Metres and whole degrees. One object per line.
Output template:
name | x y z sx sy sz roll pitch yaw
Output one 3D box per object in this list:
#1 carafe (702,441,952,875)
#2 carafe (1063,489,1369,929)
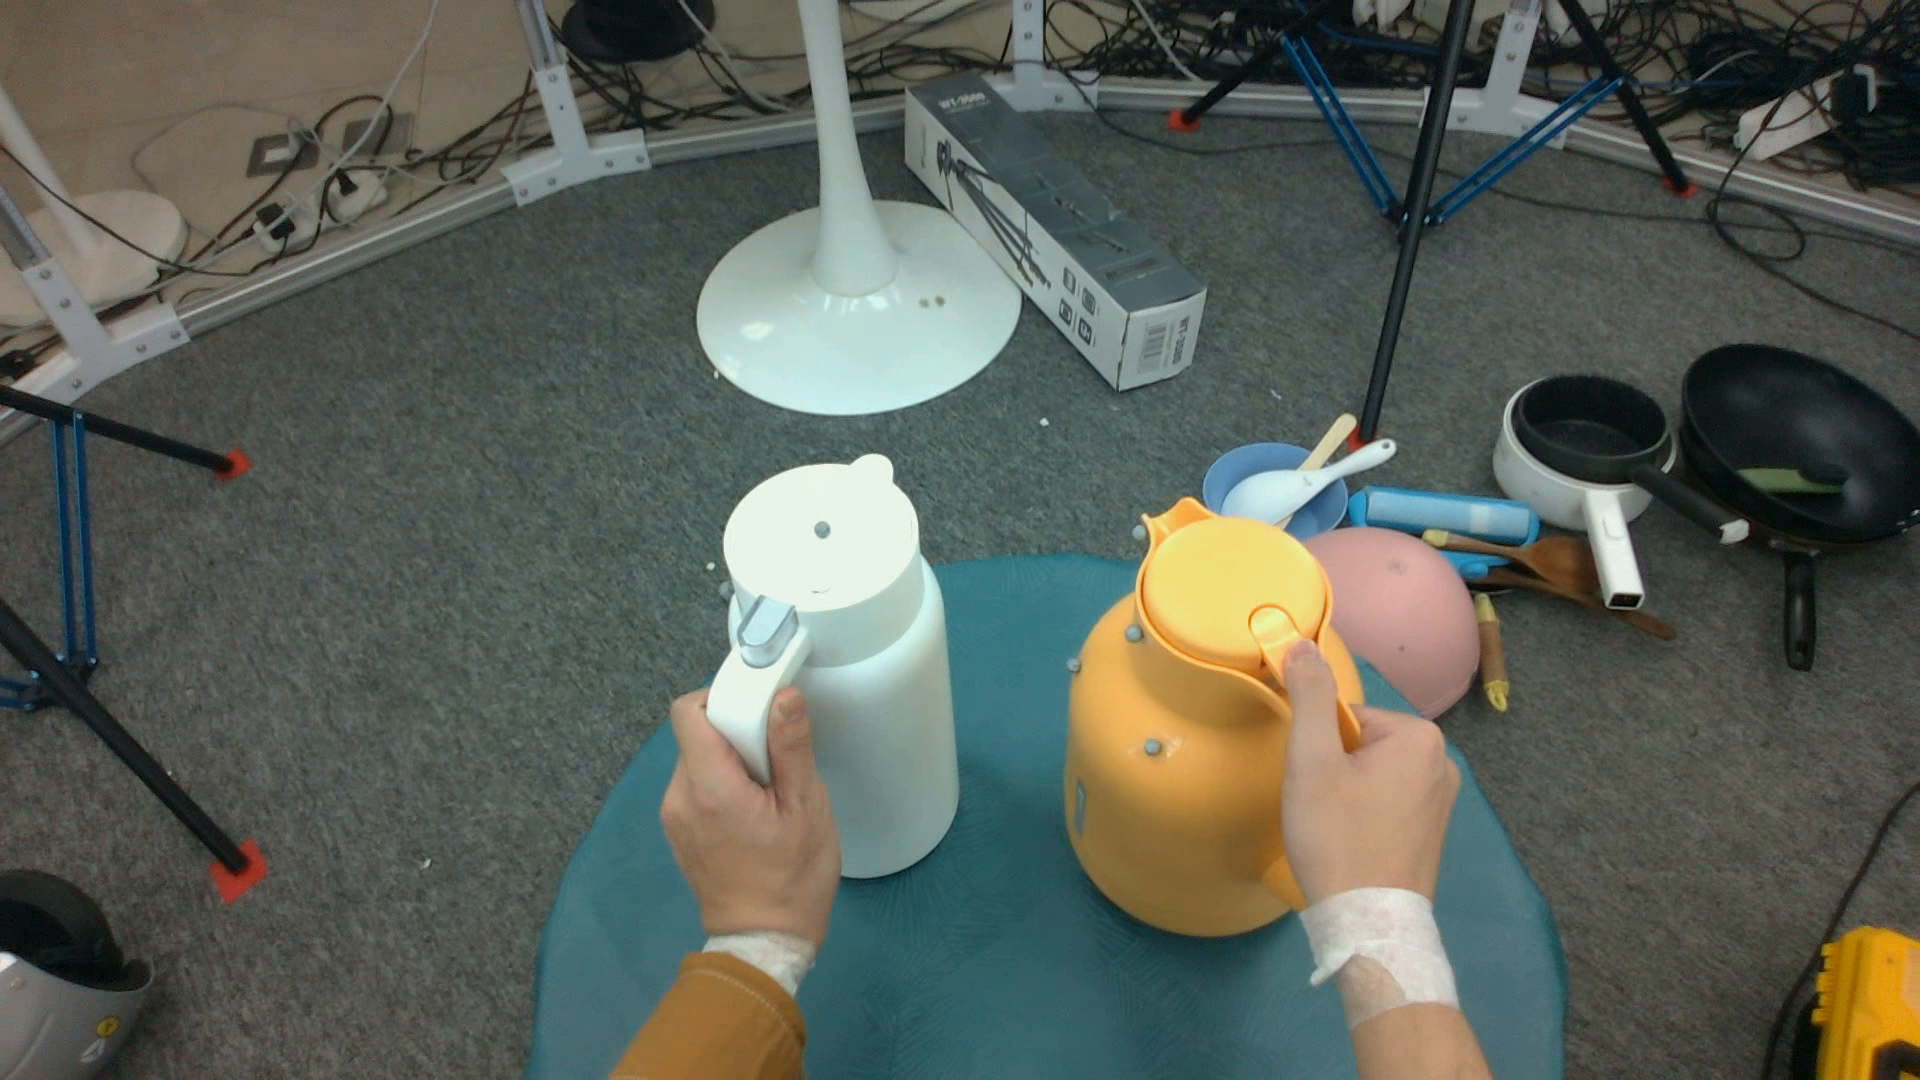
carafe | -0.074 0.093 0.780 0.124 0.267 0.173 17 52 14
carafe | 0.145 0.110 0.759 0.164 0.259 0.203 -20 50 -11
